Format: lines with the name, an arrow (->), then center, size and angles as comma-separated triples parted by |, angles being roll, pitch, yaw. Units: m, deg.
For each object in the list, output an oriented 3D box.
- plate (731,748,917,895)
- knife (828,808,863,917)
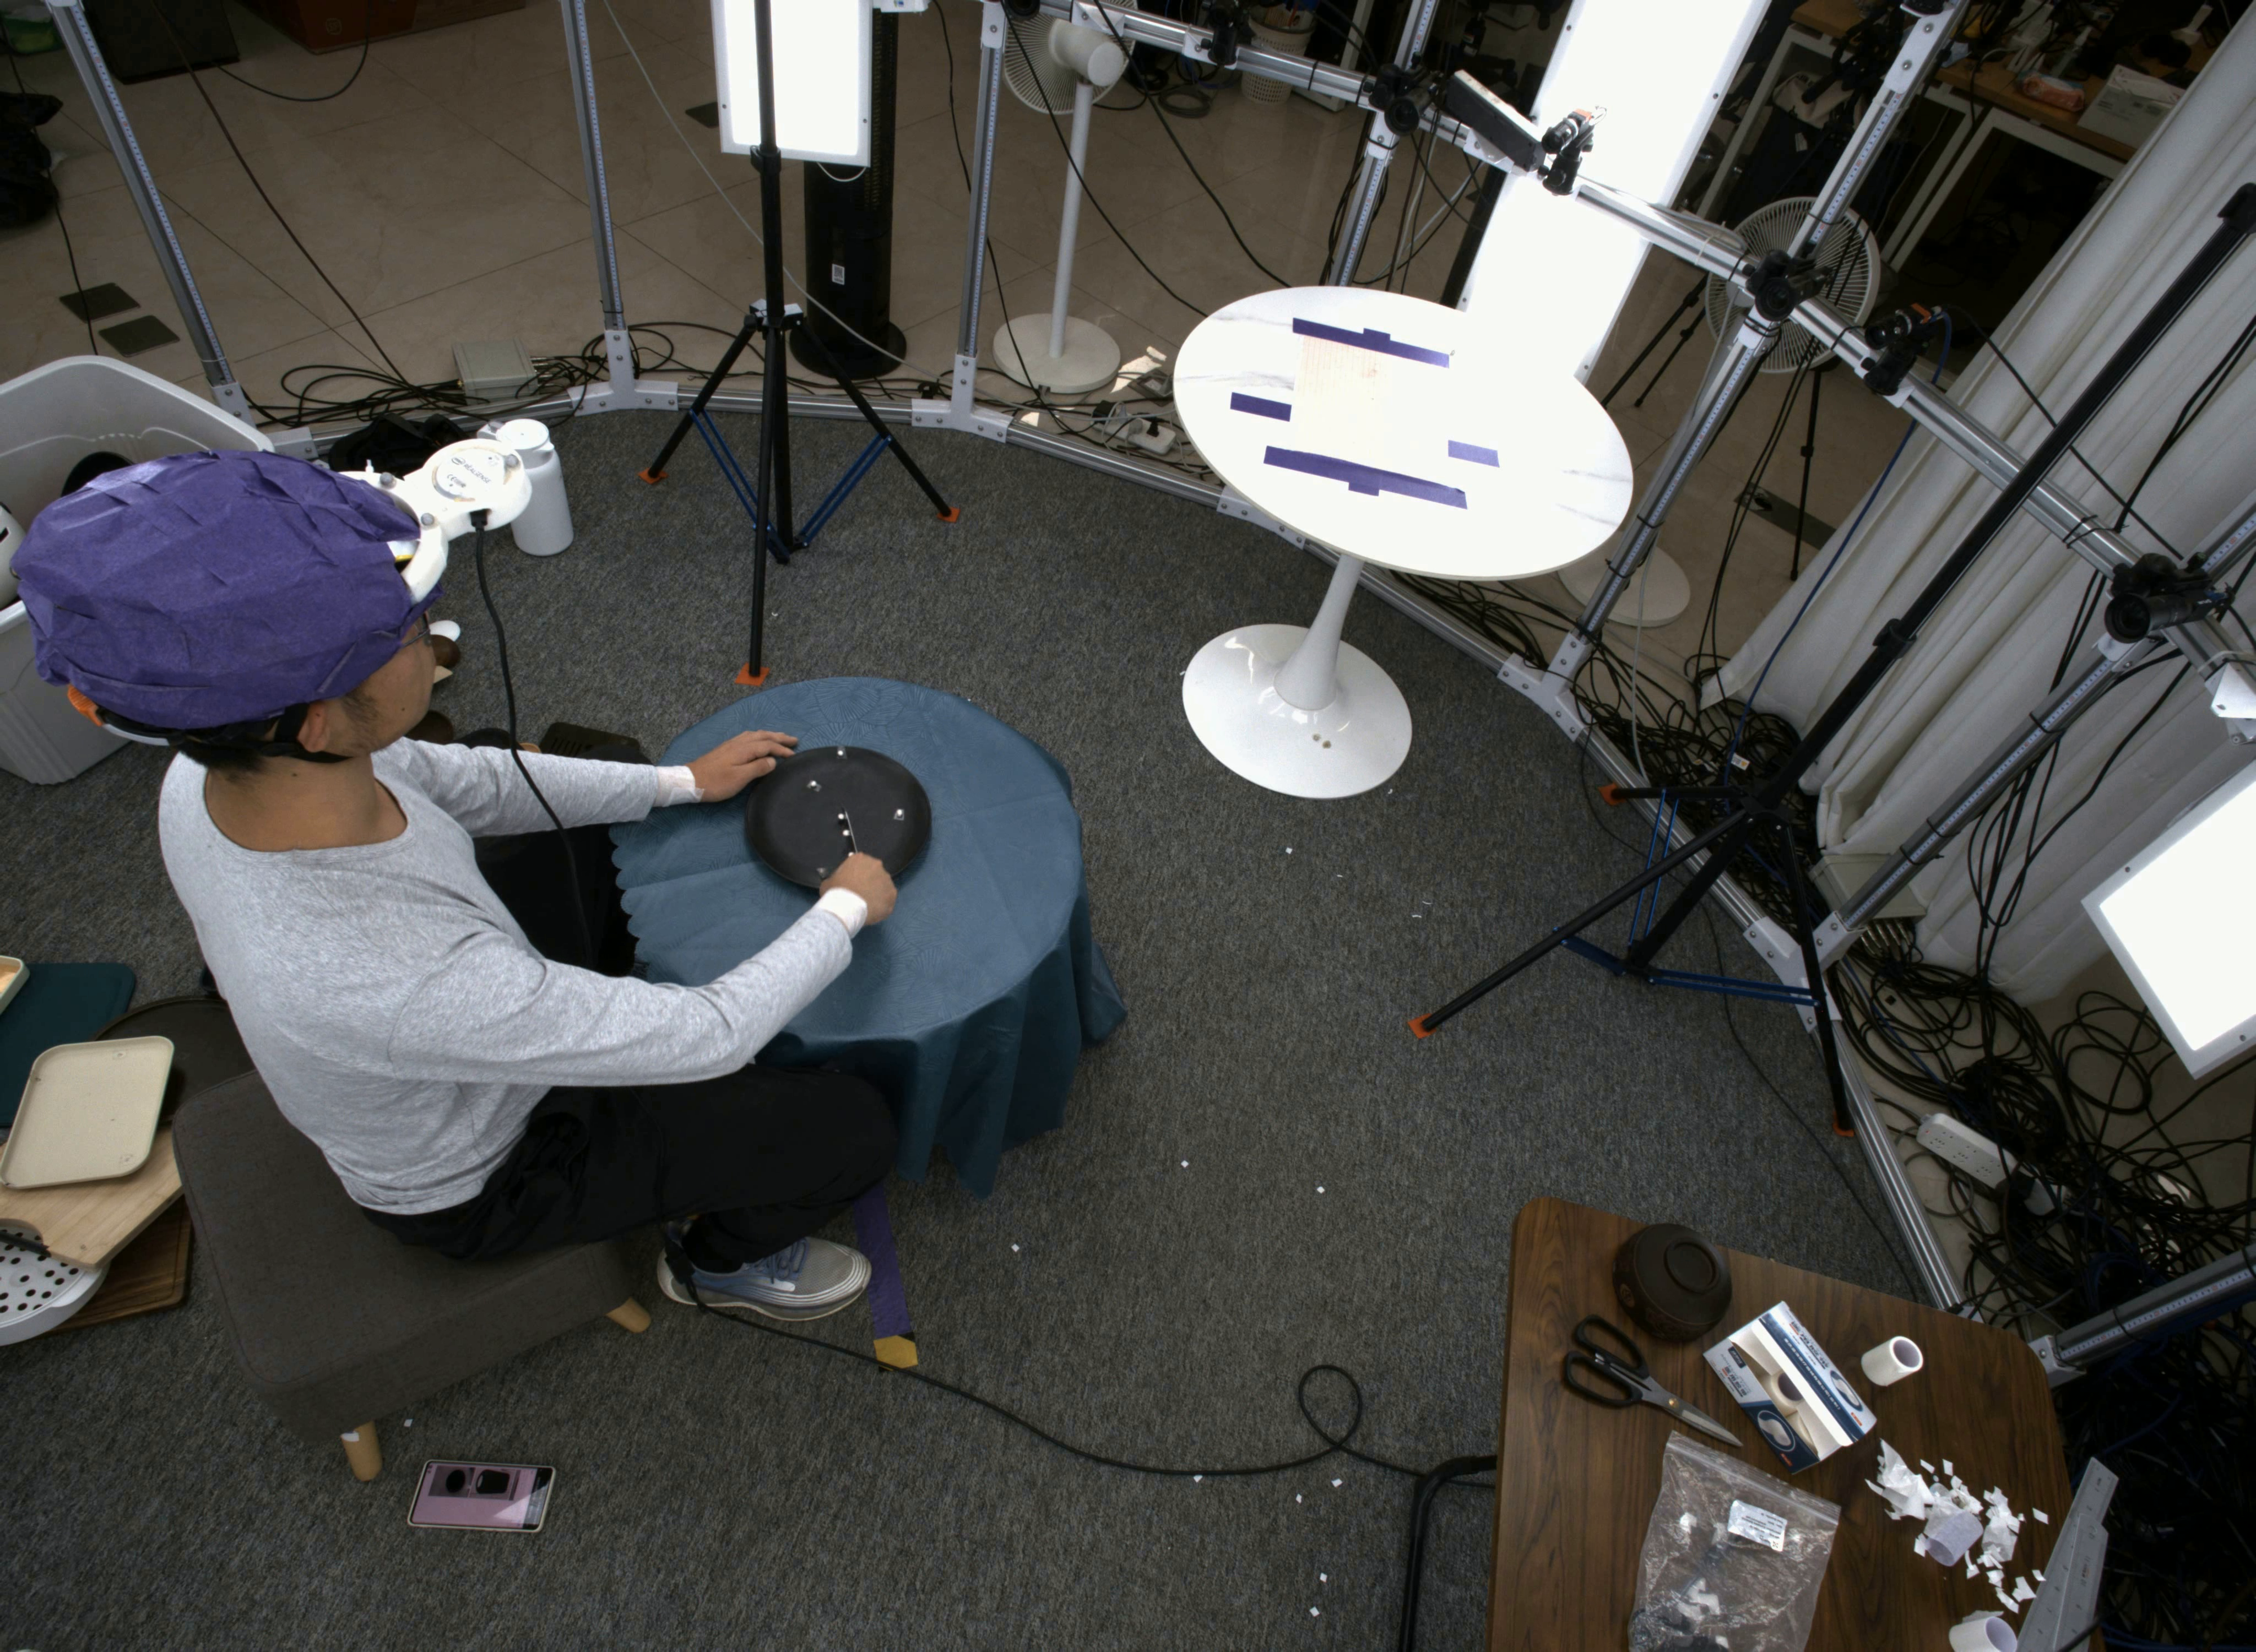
plate -> -0.404, -0.006, 1.730 | 0.244, 0.024, 0.240 | 8, 53, -9
knife -> -0.366, 0.038, 1.662 | 0.016, 0.025, 0.230 | -2, 35, -23
